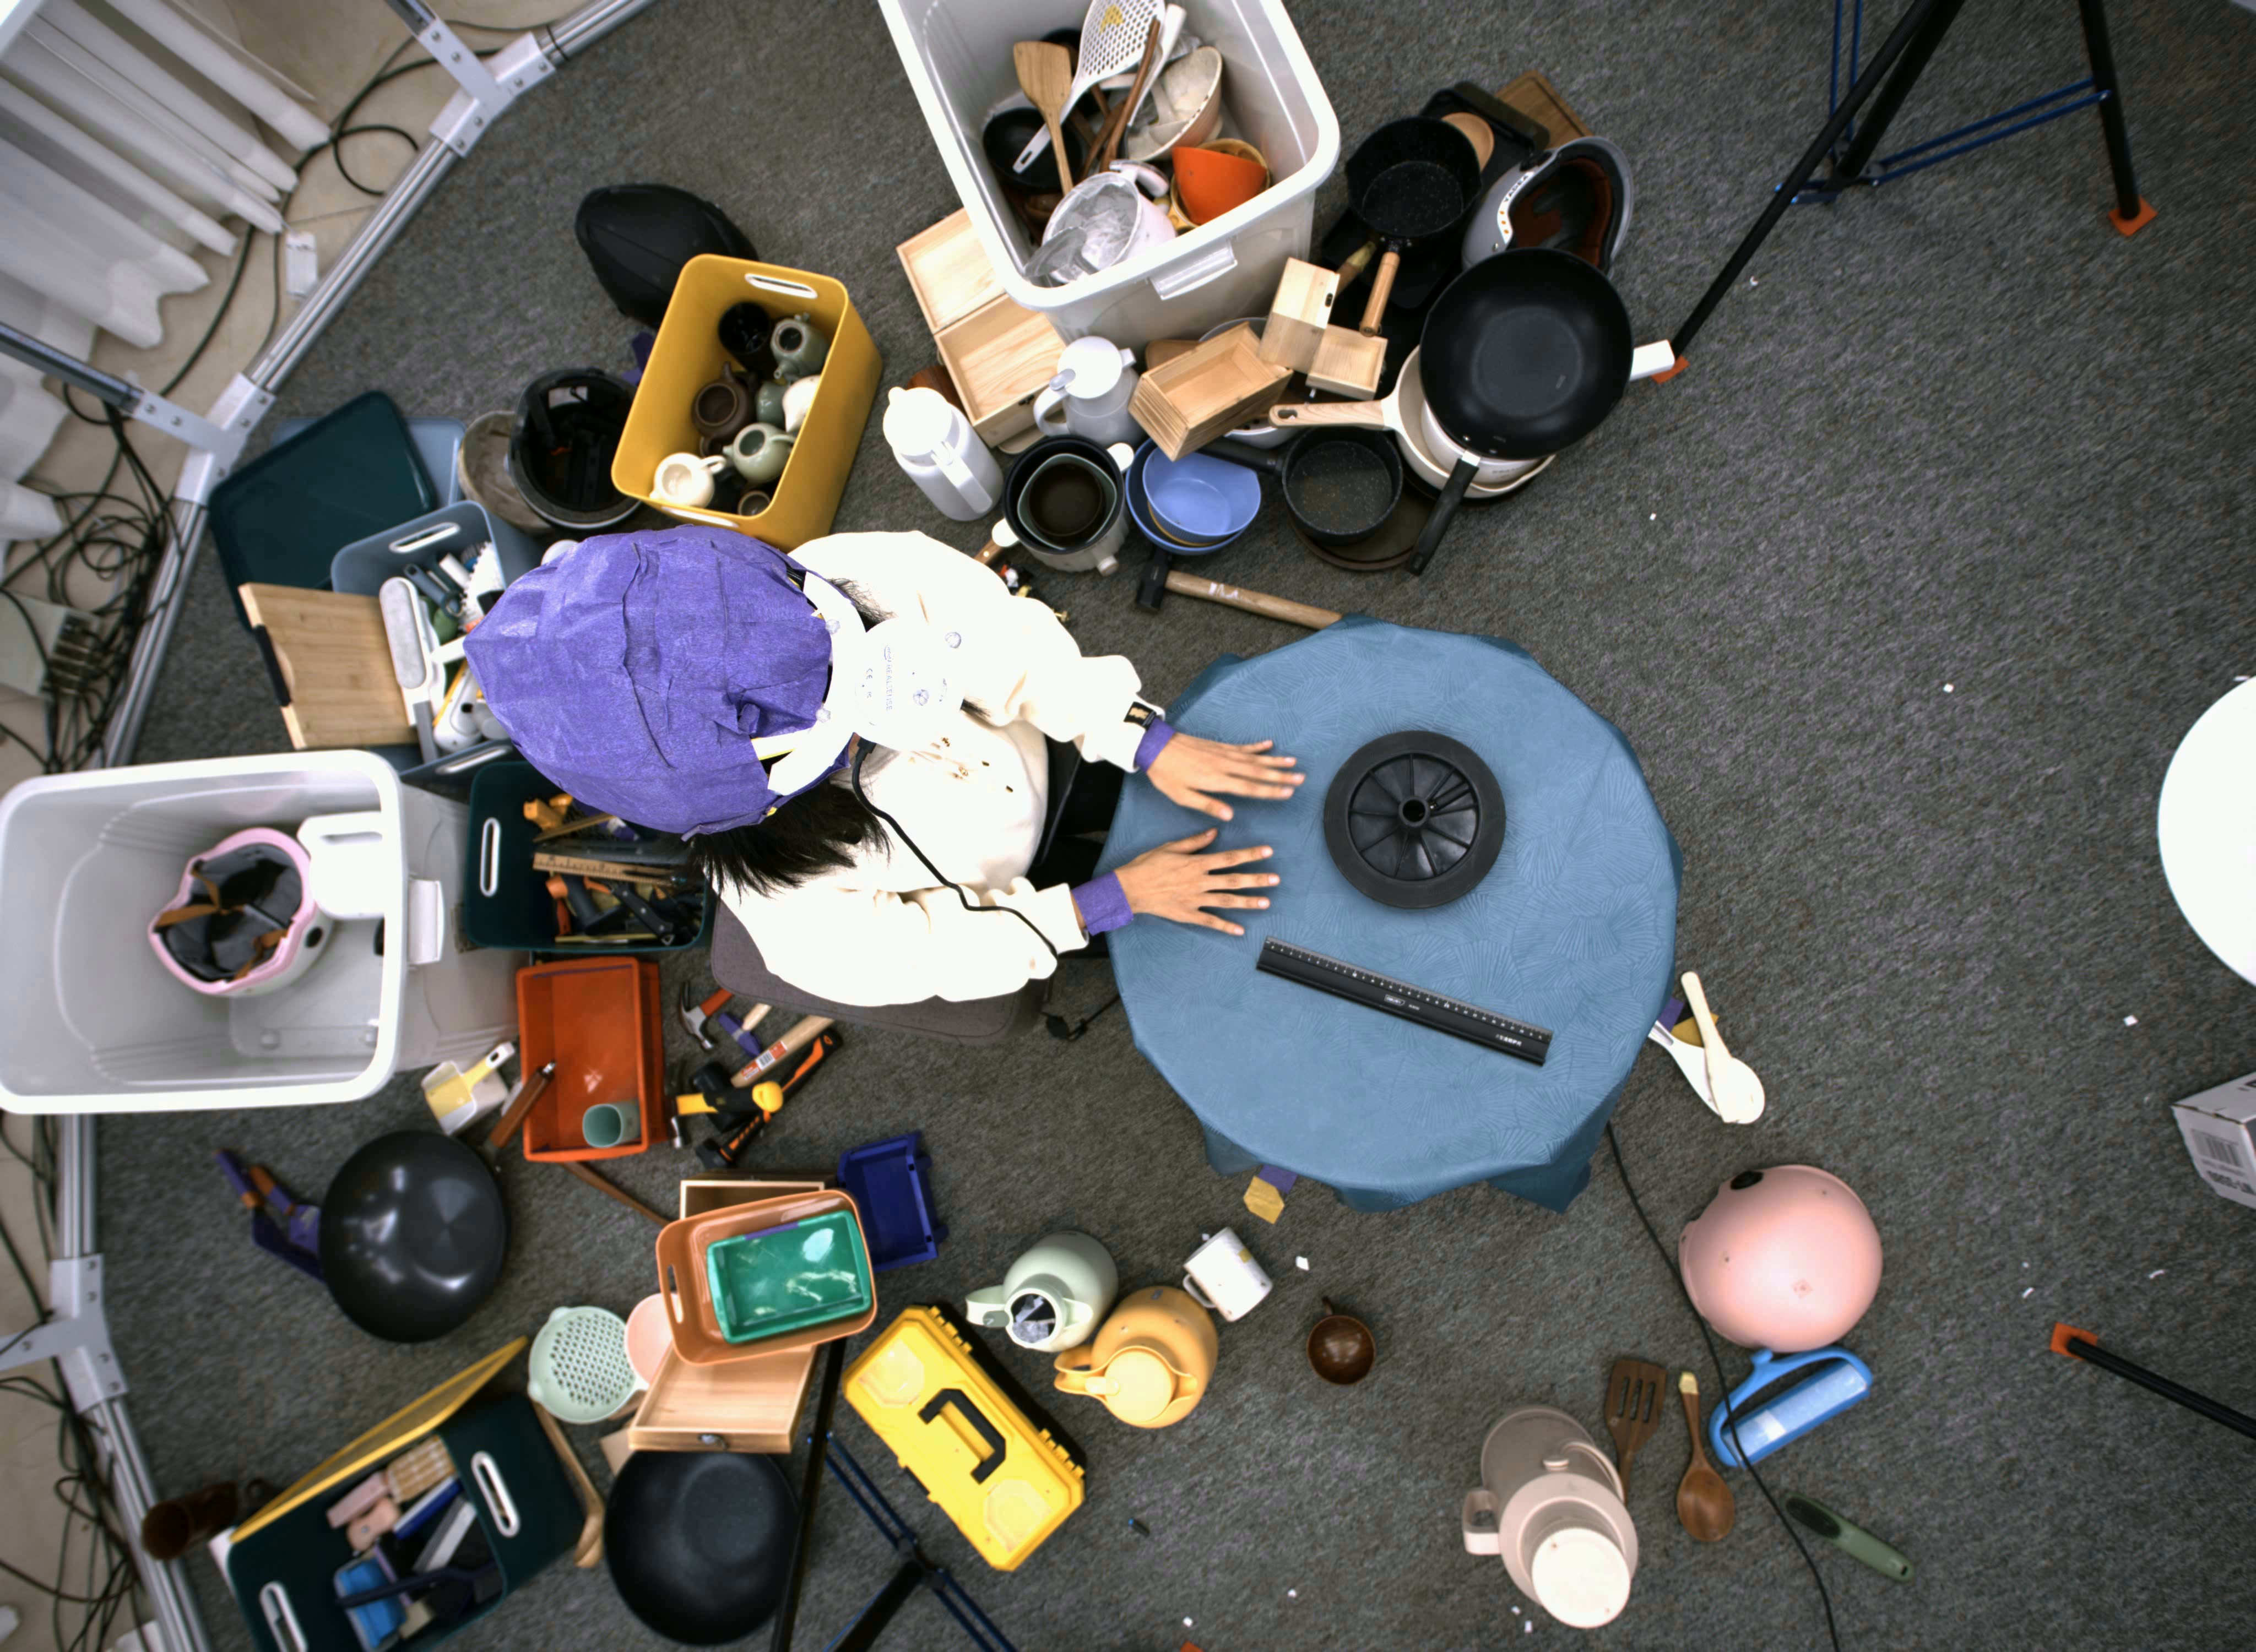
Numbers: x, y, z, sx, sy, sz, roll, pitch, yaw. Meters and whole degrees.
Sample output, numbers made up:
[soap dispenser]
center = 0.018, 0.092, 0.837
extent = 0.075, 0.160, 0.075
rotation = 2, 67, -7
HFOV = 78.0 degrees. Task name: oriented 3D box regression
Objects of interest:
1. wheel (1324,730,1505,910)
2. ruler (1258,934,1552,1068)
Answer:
[wheel]
center = 0.295, -0.012, 1.421
extent = 0.187, 0.079, 0.190
rotation = 36, 92, 12
[ruler]
center = 0.287, 0.180, 1.443
extent = 0.312, 0.017, 0.039
rotation = 19, 86, 11
